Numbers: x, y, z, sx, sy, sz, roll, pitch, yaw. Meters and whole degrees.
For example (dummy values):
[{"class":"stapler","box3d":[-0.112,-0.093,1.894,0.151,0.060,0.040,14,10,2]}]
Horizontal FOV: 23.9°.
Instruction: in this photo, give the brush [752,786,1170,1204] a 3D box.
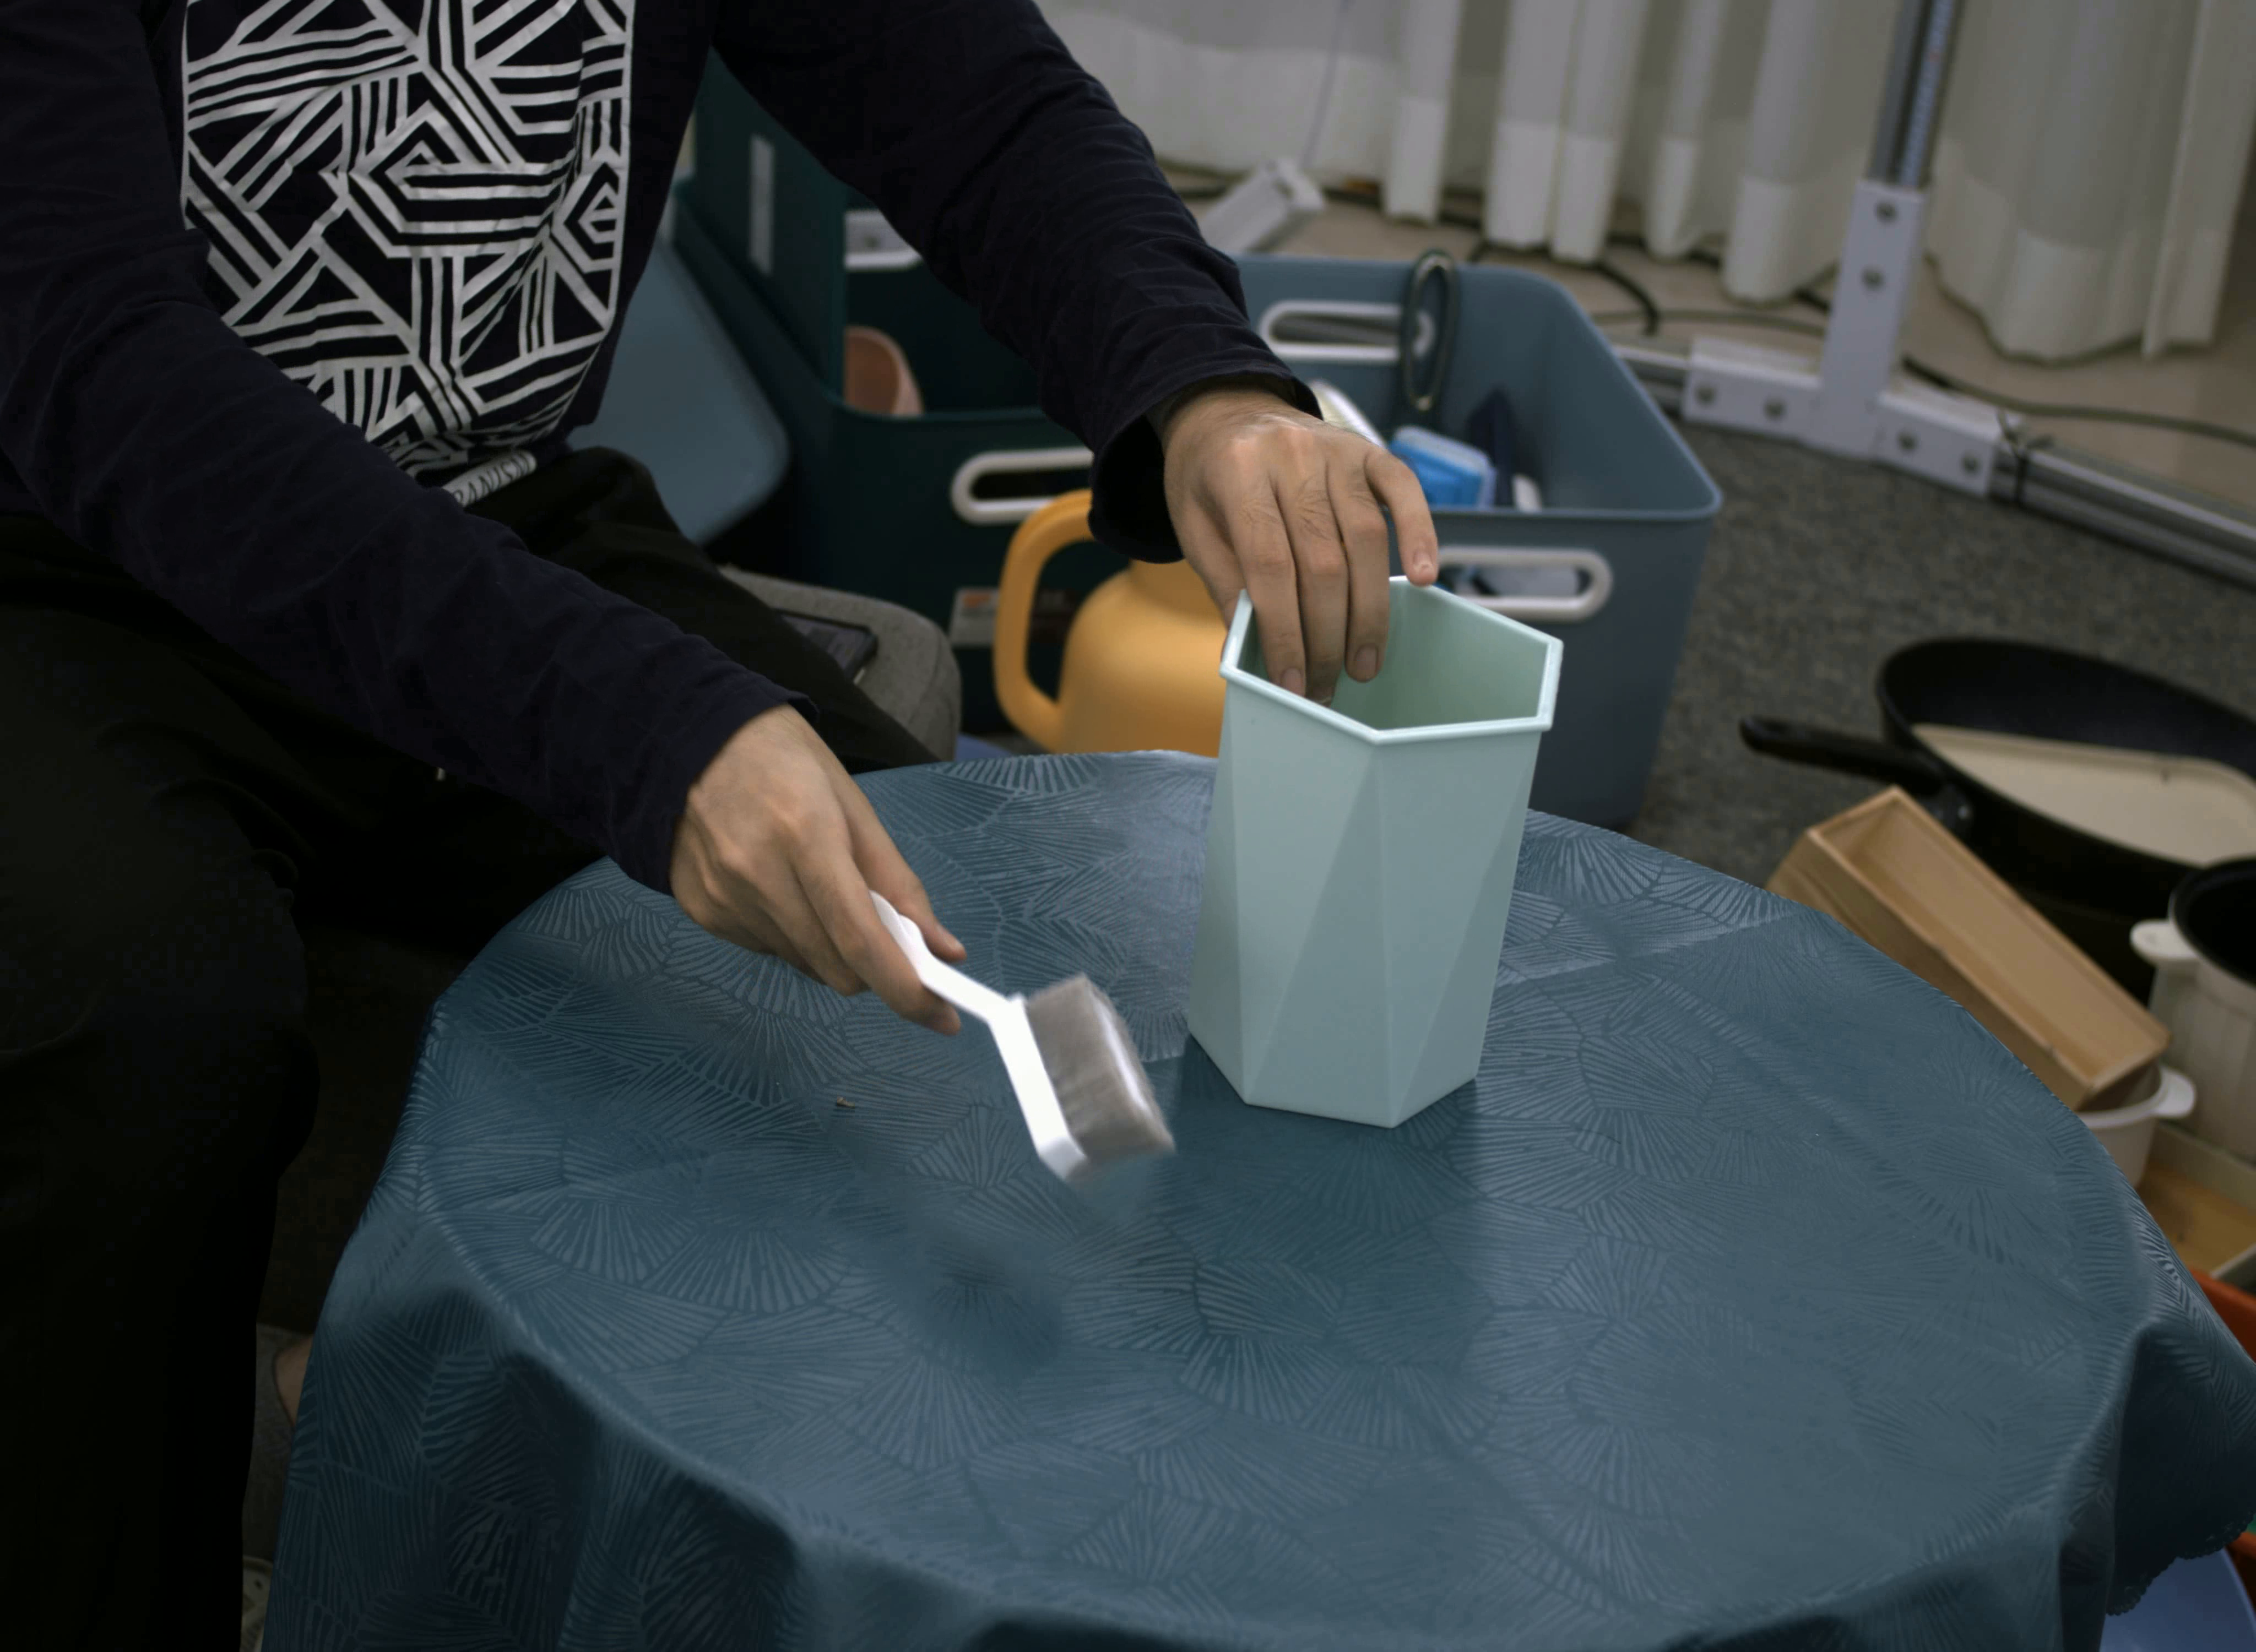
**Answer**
[{"class":"brush","box3d":[-0.057,0.042,1.793,0.034,0.050,0.246,29,14,-45]}]

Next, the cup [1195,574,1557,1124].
[{"class":"cup","box3d":[0.084,0.010,1.869,0.115,0.162,0.131,7,26,3]}]
